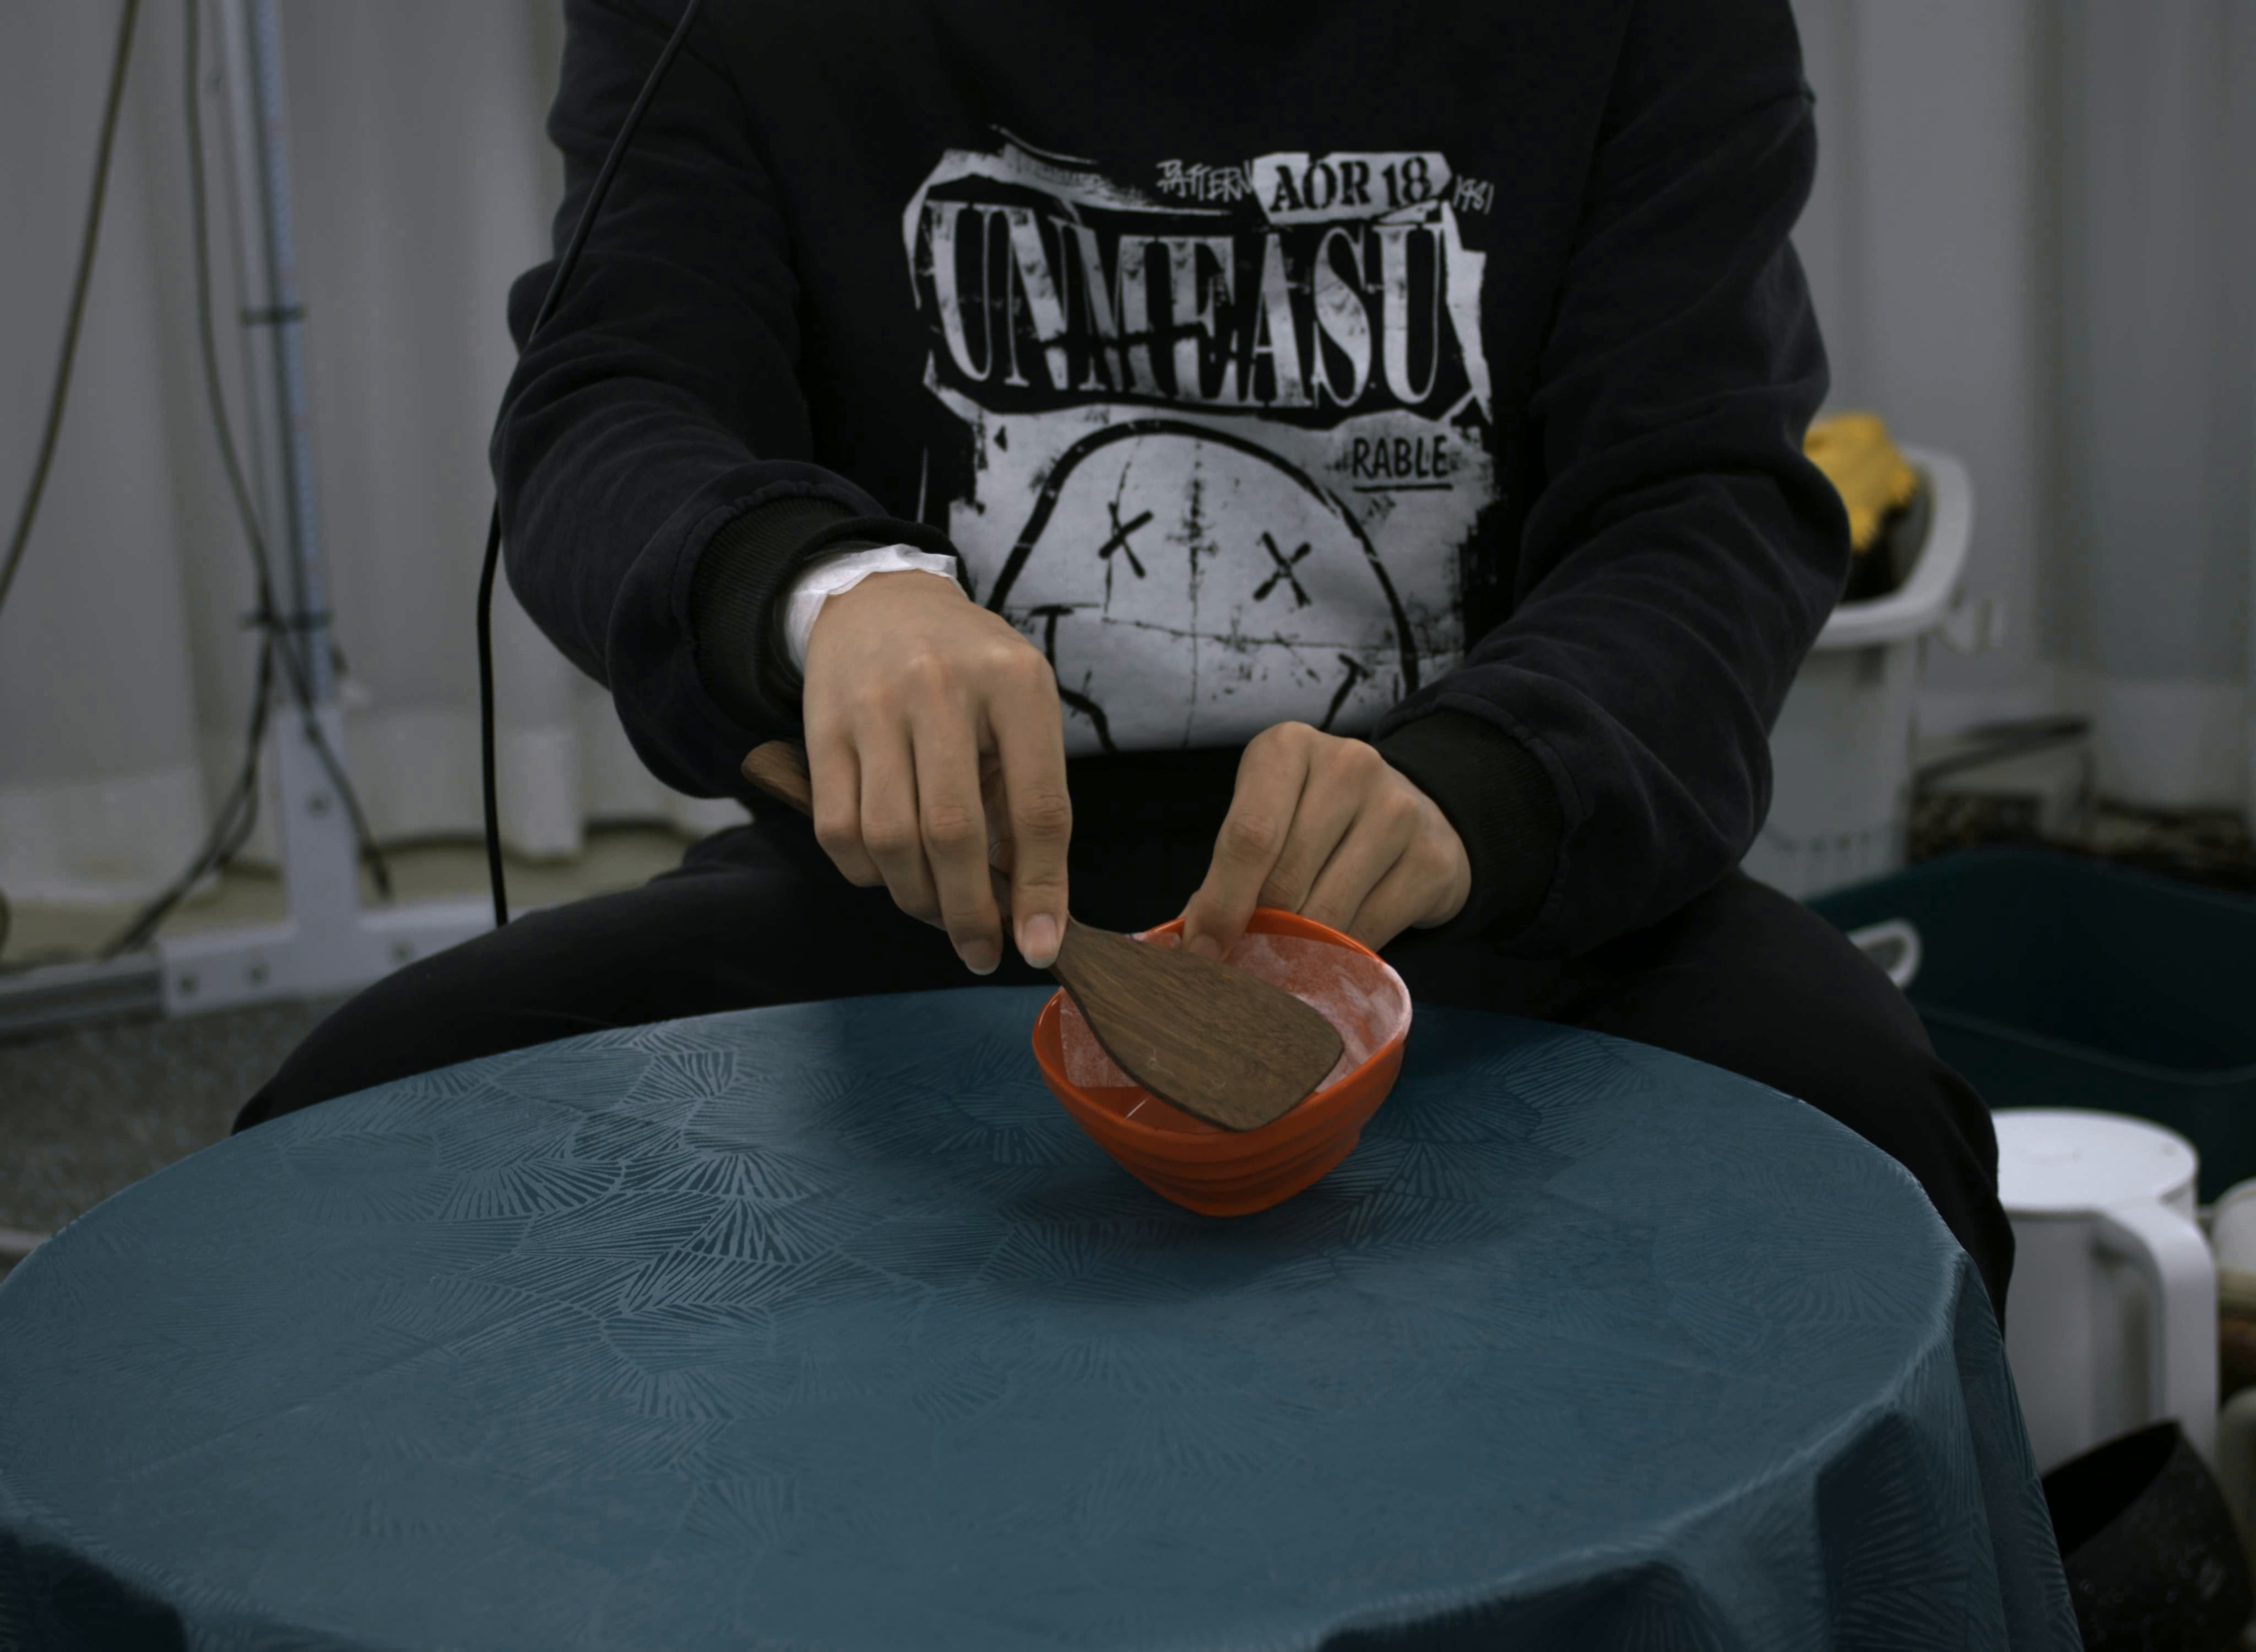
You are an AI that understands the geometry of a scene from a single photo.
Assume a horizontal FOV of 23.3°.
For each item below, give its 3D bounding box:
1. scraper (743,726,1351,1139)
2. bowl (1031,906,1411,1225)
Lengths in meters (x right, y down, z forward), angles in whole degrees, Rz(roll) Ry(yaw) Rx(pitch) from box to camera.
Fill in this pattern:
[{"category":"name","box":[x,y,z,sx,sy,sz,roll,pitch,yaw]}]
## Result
[{"category":"scraper","box":[-0.030,0.028,1.681,0.212,0.011,0.076,33,39,16]},{"category":"bowl","box":[0.032,0.080,1.701,0.118,0.051,0.120,-7,35,5]}]
